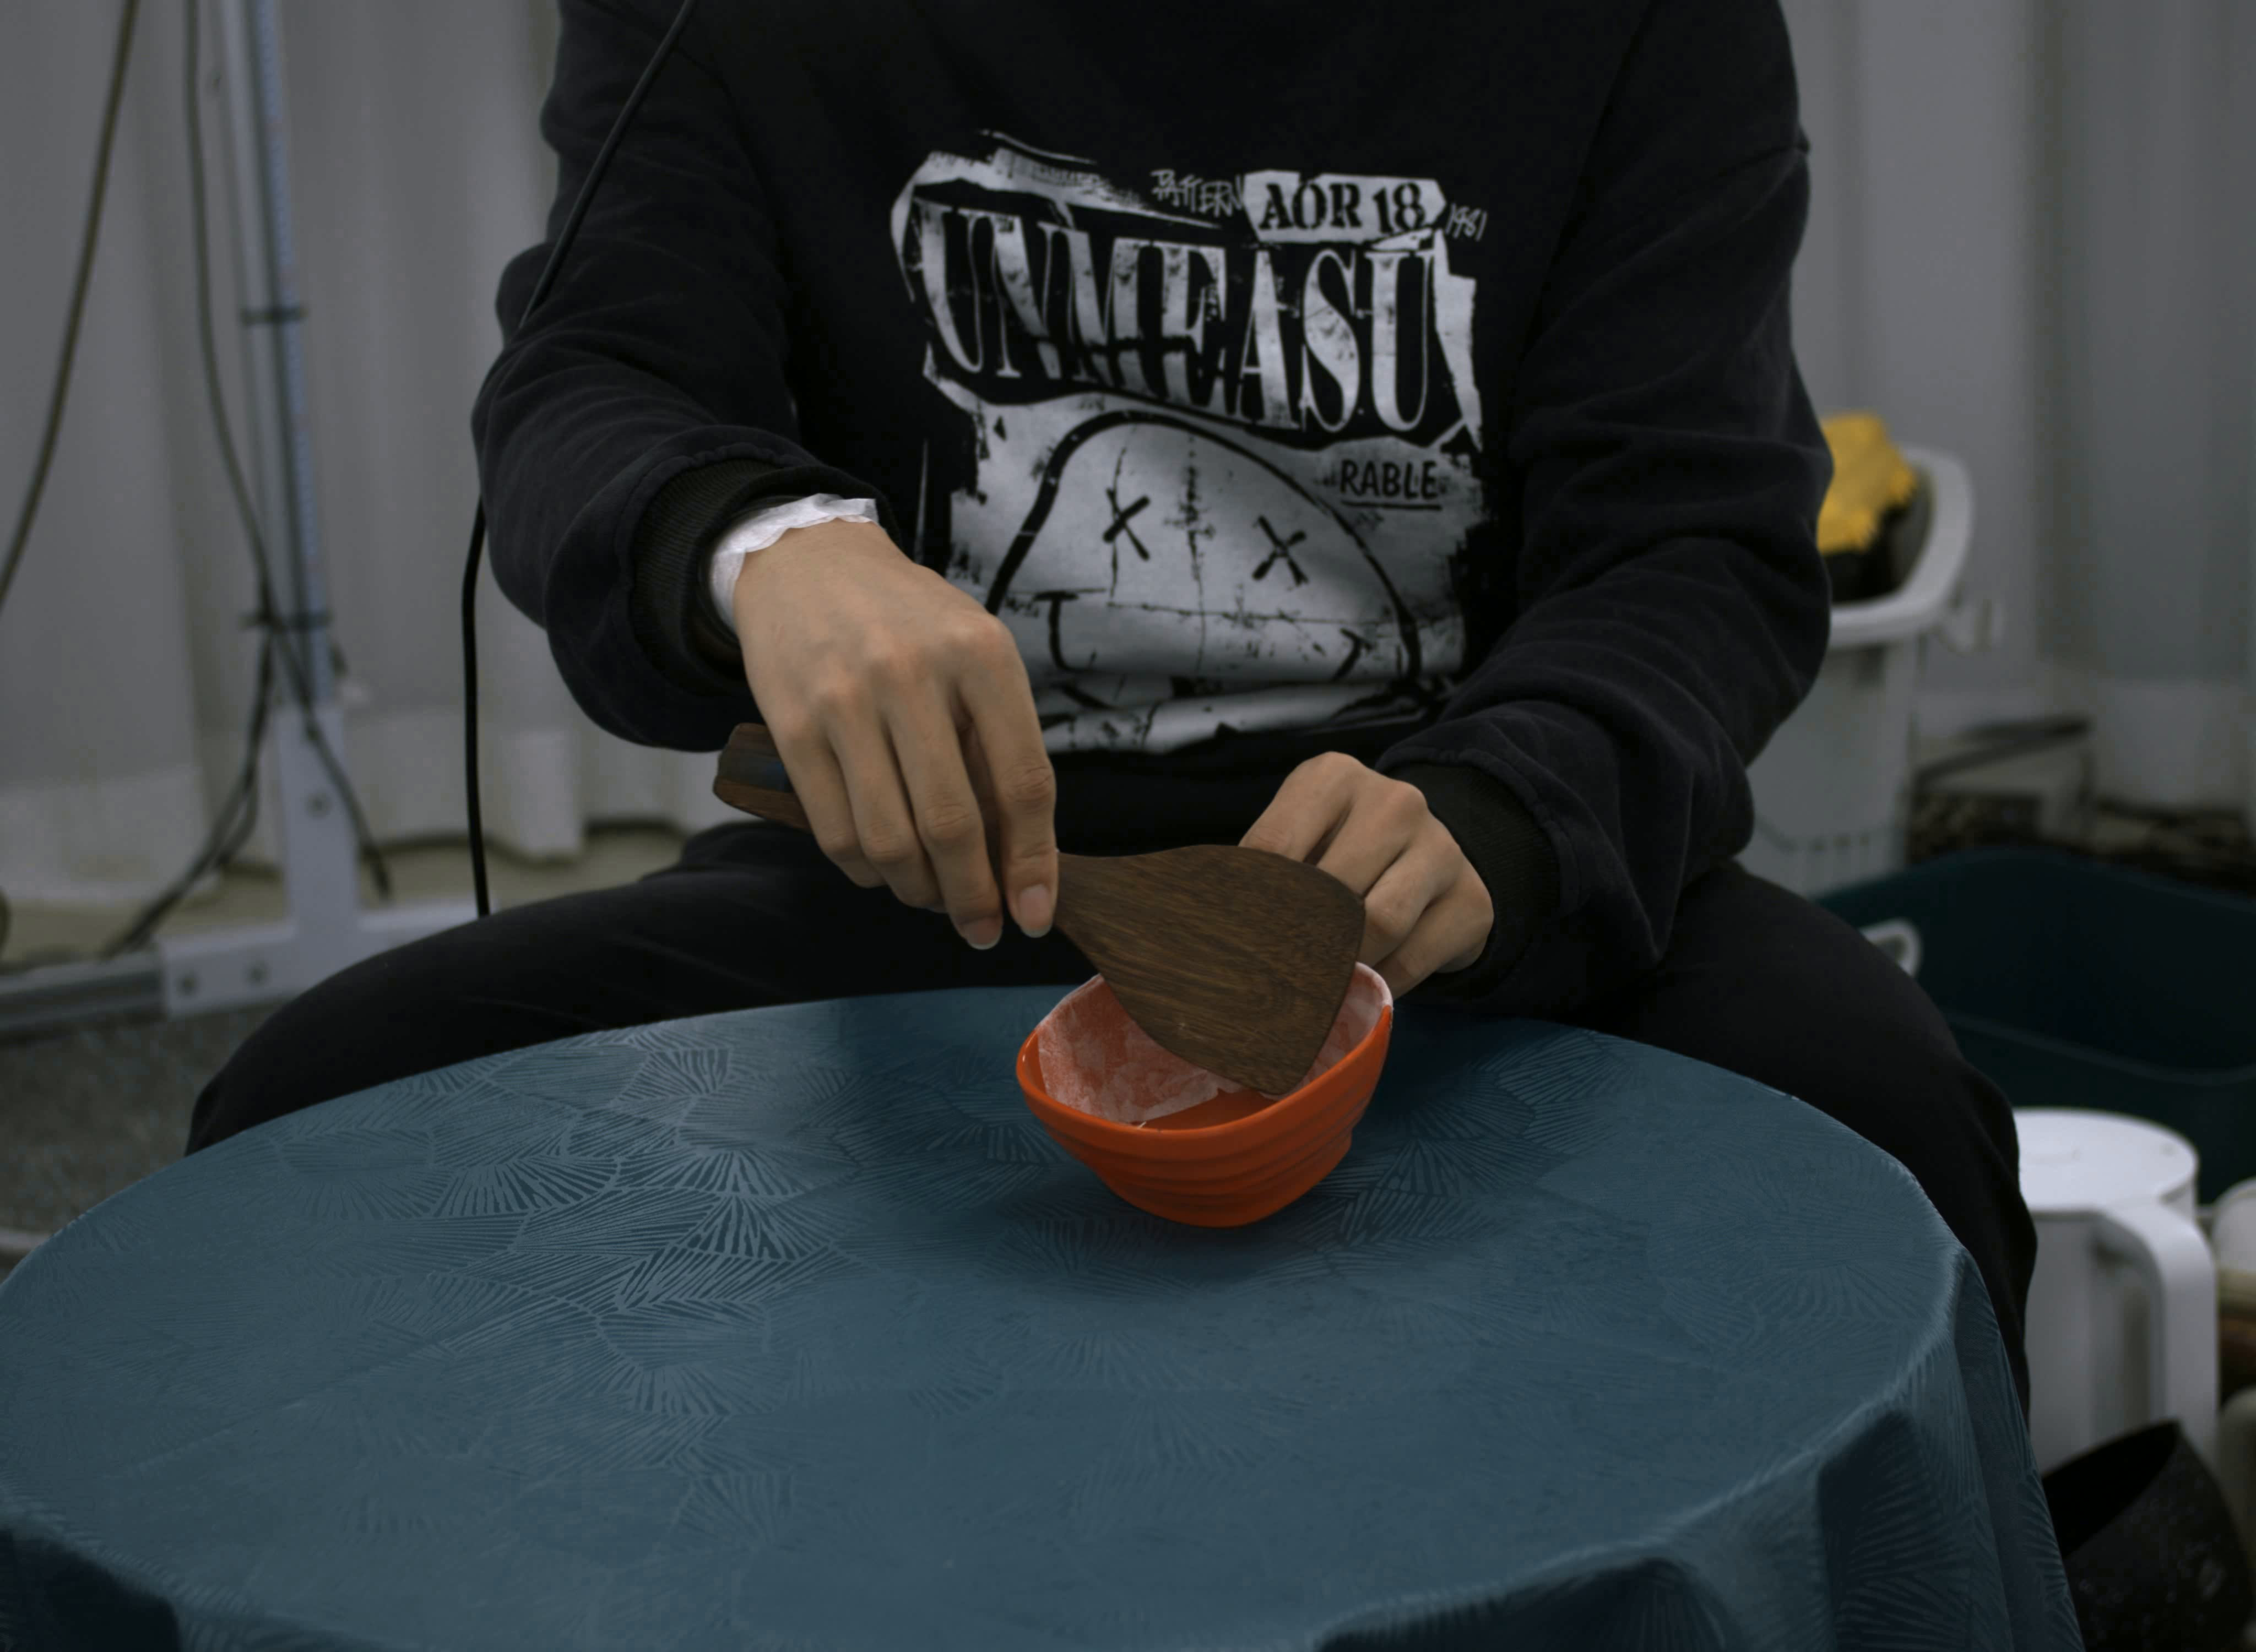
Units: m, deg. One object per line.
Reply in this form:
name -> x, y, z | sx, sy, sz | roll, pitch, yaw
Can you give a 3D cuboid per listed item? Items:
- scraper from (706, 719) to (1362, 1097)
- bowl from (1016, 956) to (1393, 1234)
scraper -> -0.032, 0.015, 1.703 | 0.211, 0.076, 0.011 | 22, -12, 6
bowl -> 0.028, 0.085, 1.697 | 0.118, 0.051, 0.120 | -11, 28, 6
